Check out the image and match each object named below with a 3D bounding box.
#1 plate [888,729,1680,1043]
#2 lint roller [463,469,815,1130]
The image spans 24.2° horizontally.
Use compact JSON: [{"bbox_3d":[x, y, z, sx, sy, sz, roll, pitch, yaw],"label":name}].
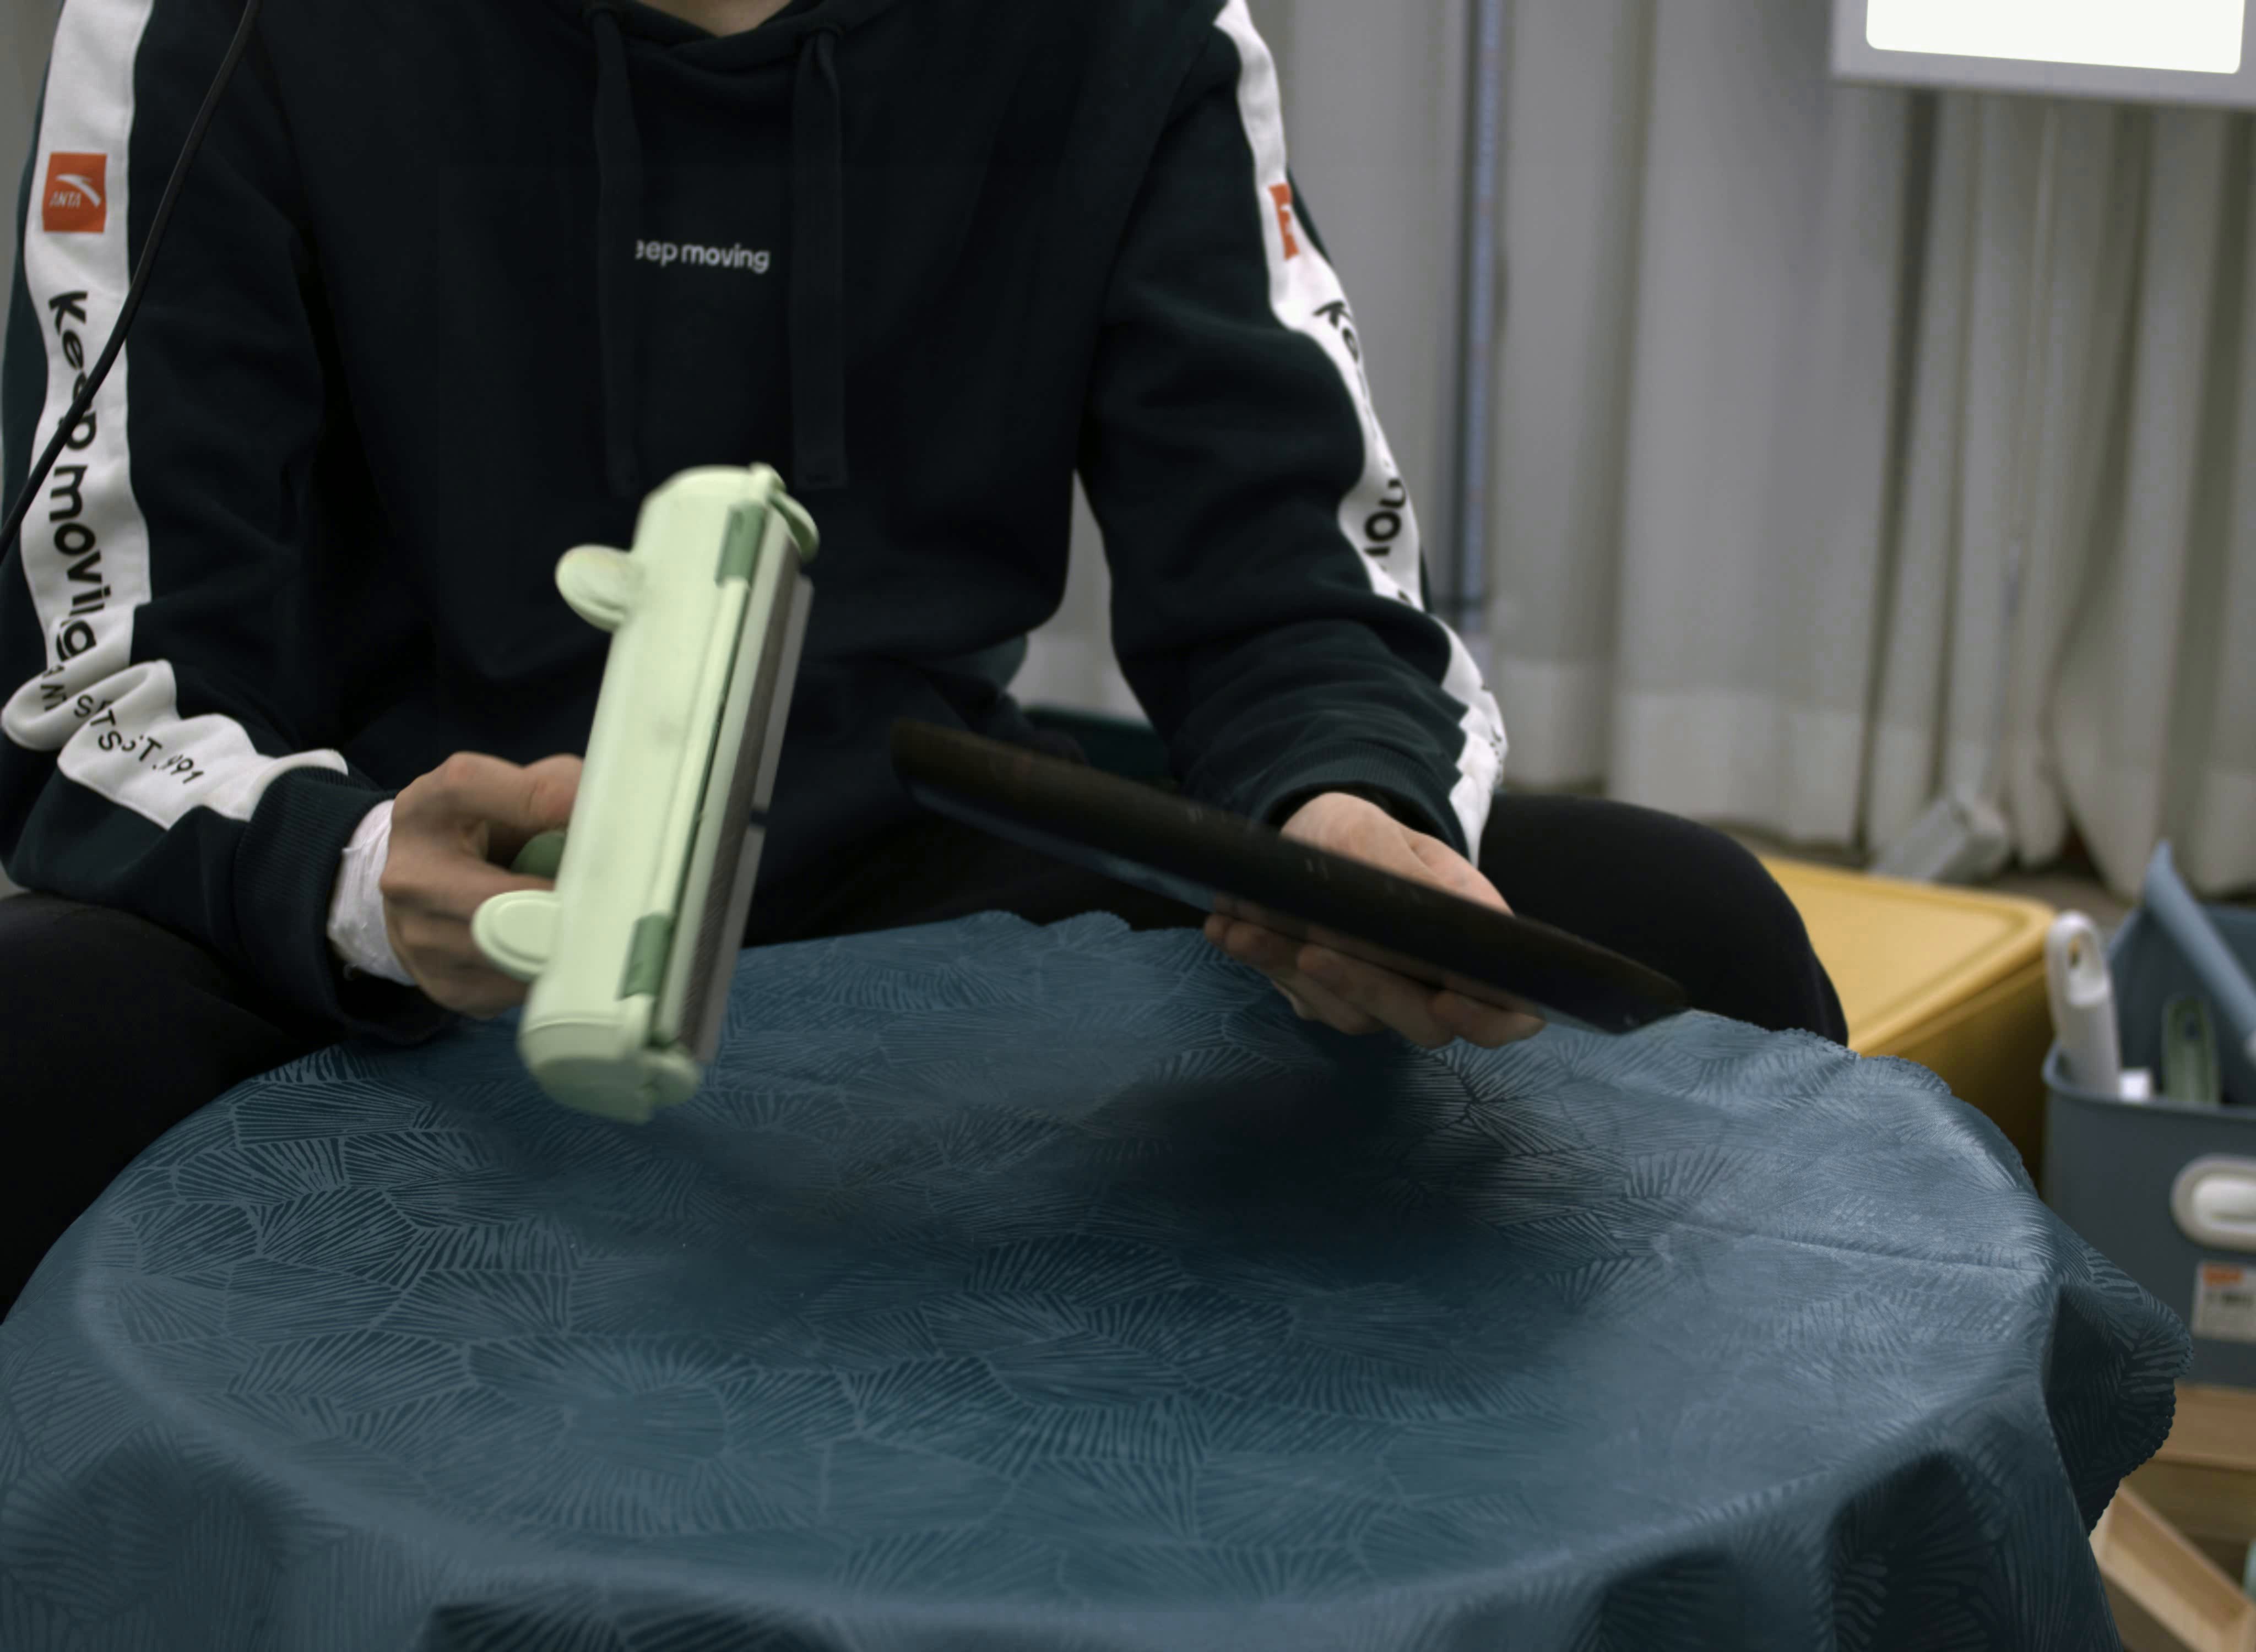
[{"bbox_3d":[0.045,0.019,1.605,0.254,0.029,0.255,18,-1,1],"label":"plate"},{"bbox_3d":[-0.173,0.001,1.591,0.083,0.198,0.182,25,-27,-28],"label":"lint roller"}]
